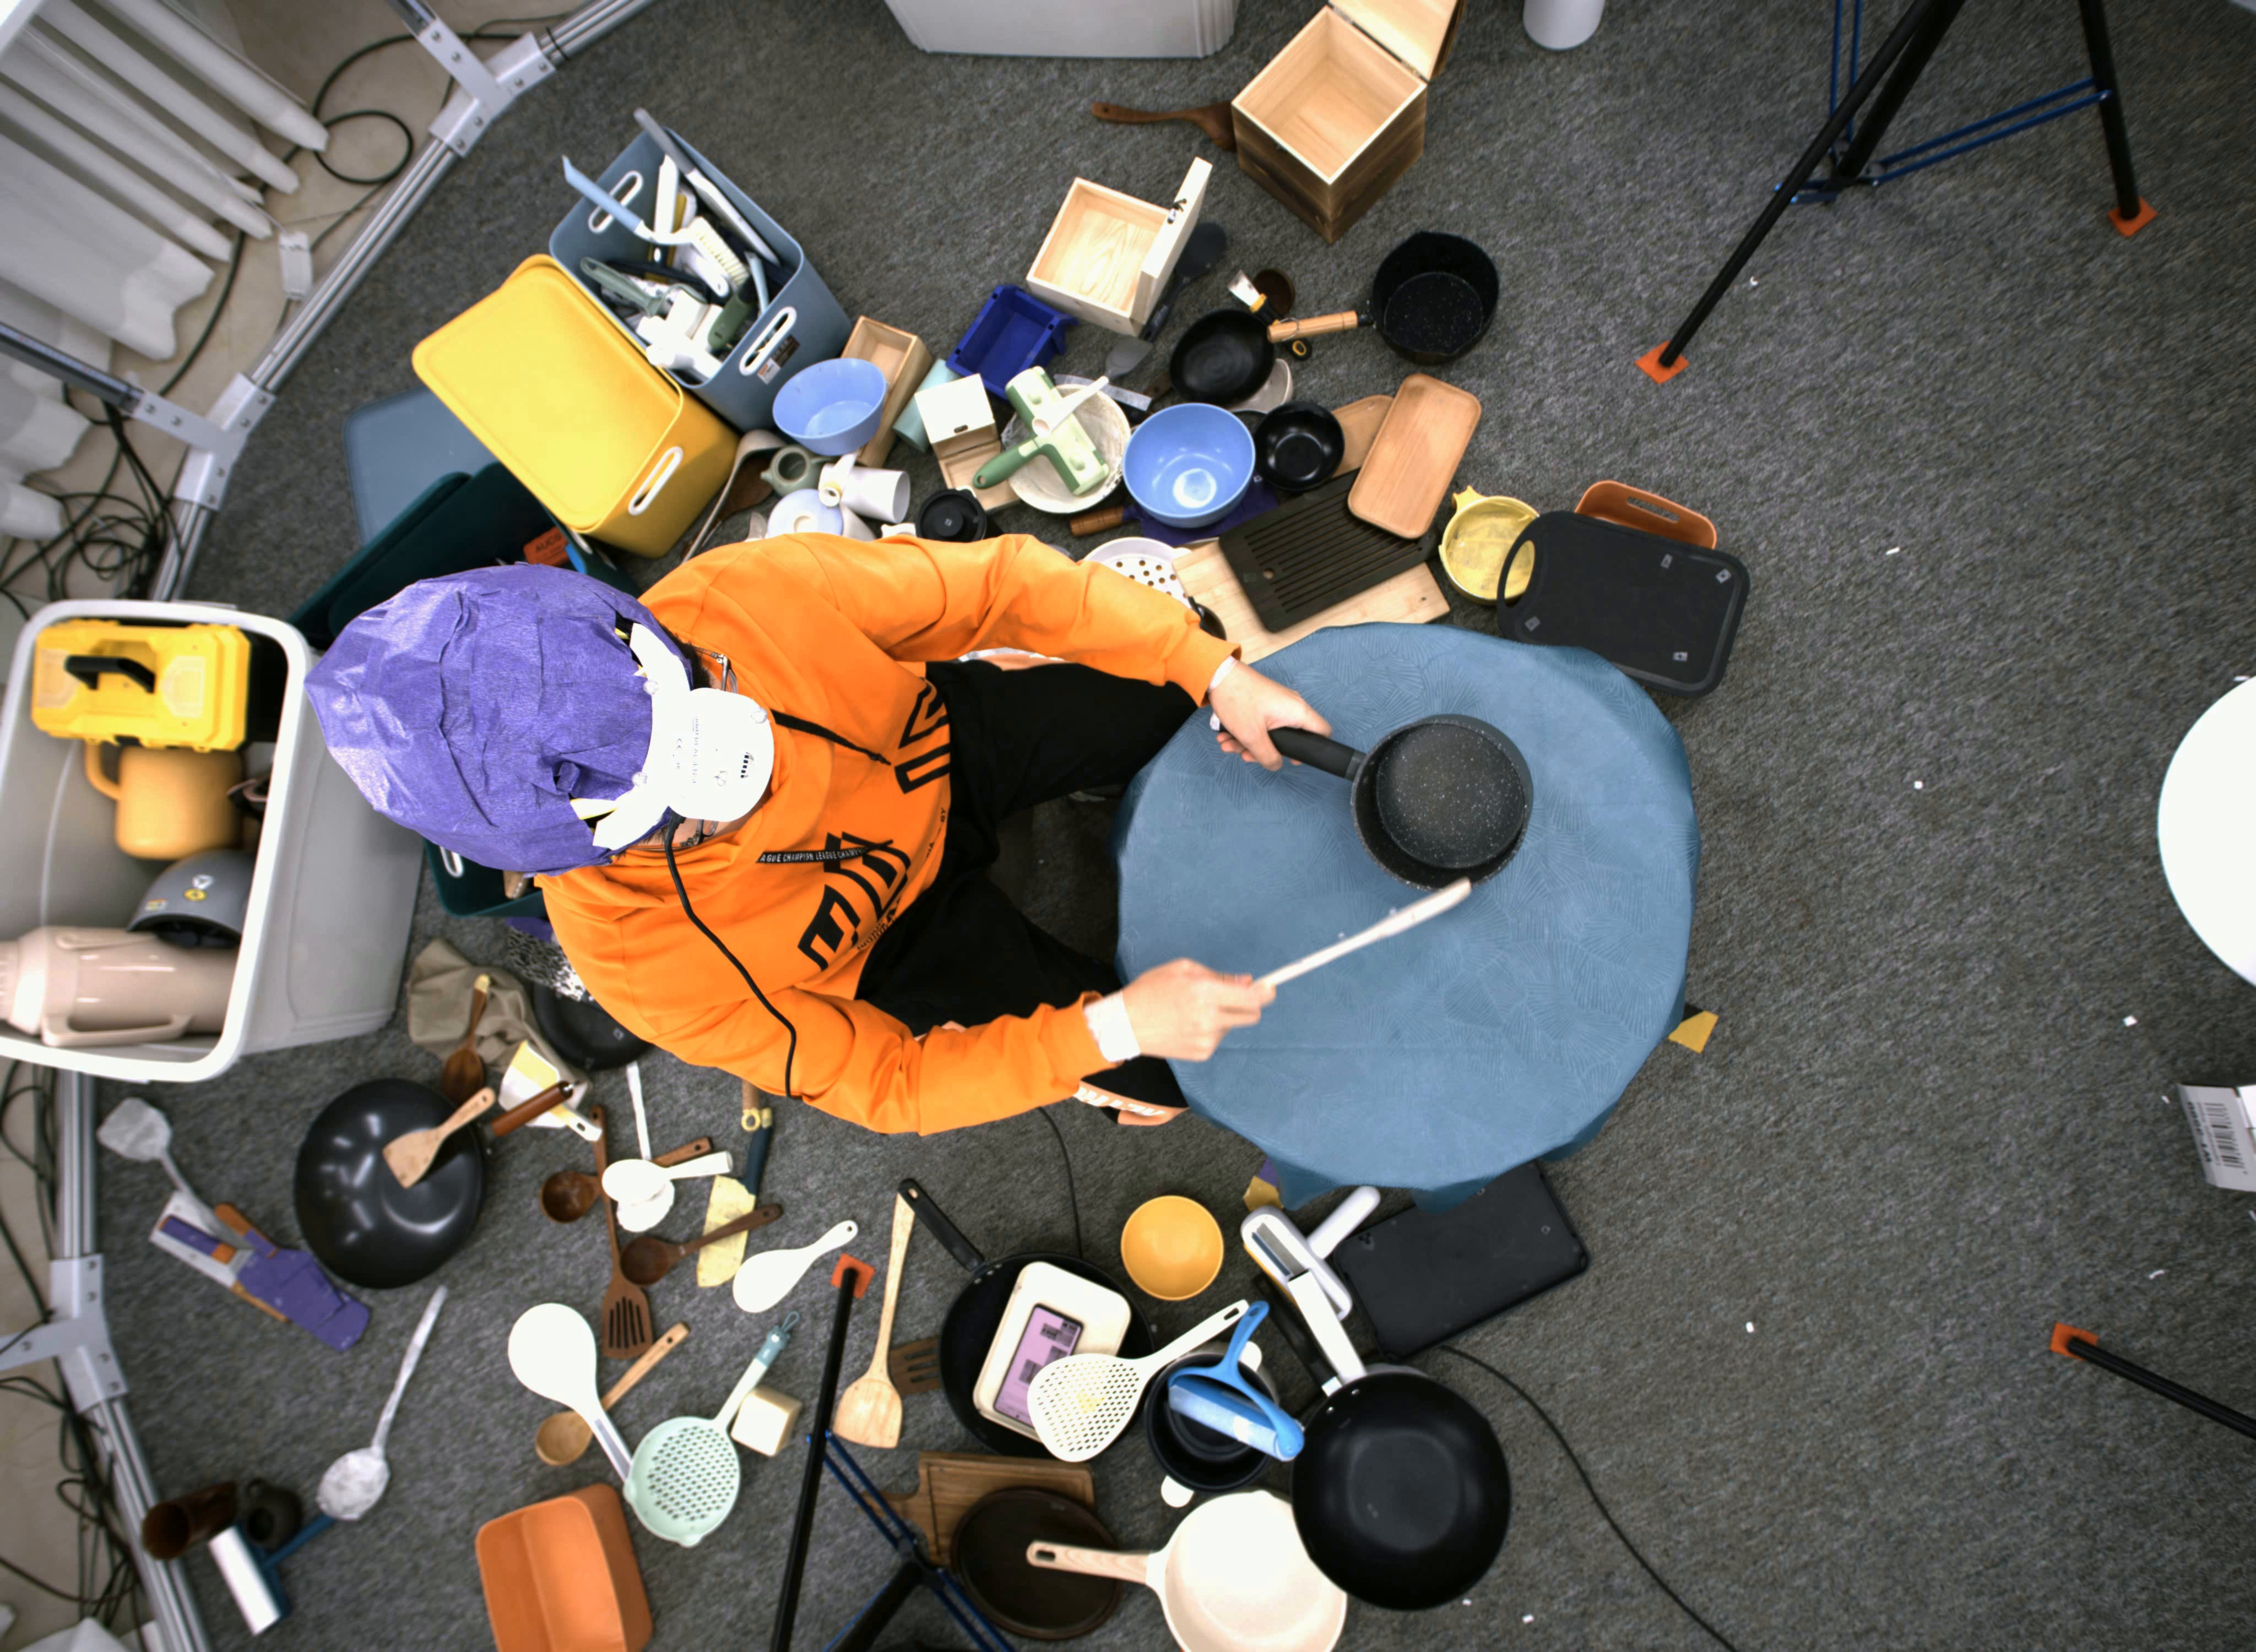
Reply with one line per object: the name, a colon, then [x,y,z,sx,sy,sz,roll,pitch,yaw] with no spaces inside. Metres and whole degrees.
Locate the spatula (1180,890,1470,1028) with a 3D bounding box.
spatula: [0.178,0.125,1.268,0.296,0.071,0.010,-26,92,15]

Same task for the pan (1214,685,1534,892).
pan: [0.244,-0.062,1.376,0.328,0.085,0.175,26,112,14]
